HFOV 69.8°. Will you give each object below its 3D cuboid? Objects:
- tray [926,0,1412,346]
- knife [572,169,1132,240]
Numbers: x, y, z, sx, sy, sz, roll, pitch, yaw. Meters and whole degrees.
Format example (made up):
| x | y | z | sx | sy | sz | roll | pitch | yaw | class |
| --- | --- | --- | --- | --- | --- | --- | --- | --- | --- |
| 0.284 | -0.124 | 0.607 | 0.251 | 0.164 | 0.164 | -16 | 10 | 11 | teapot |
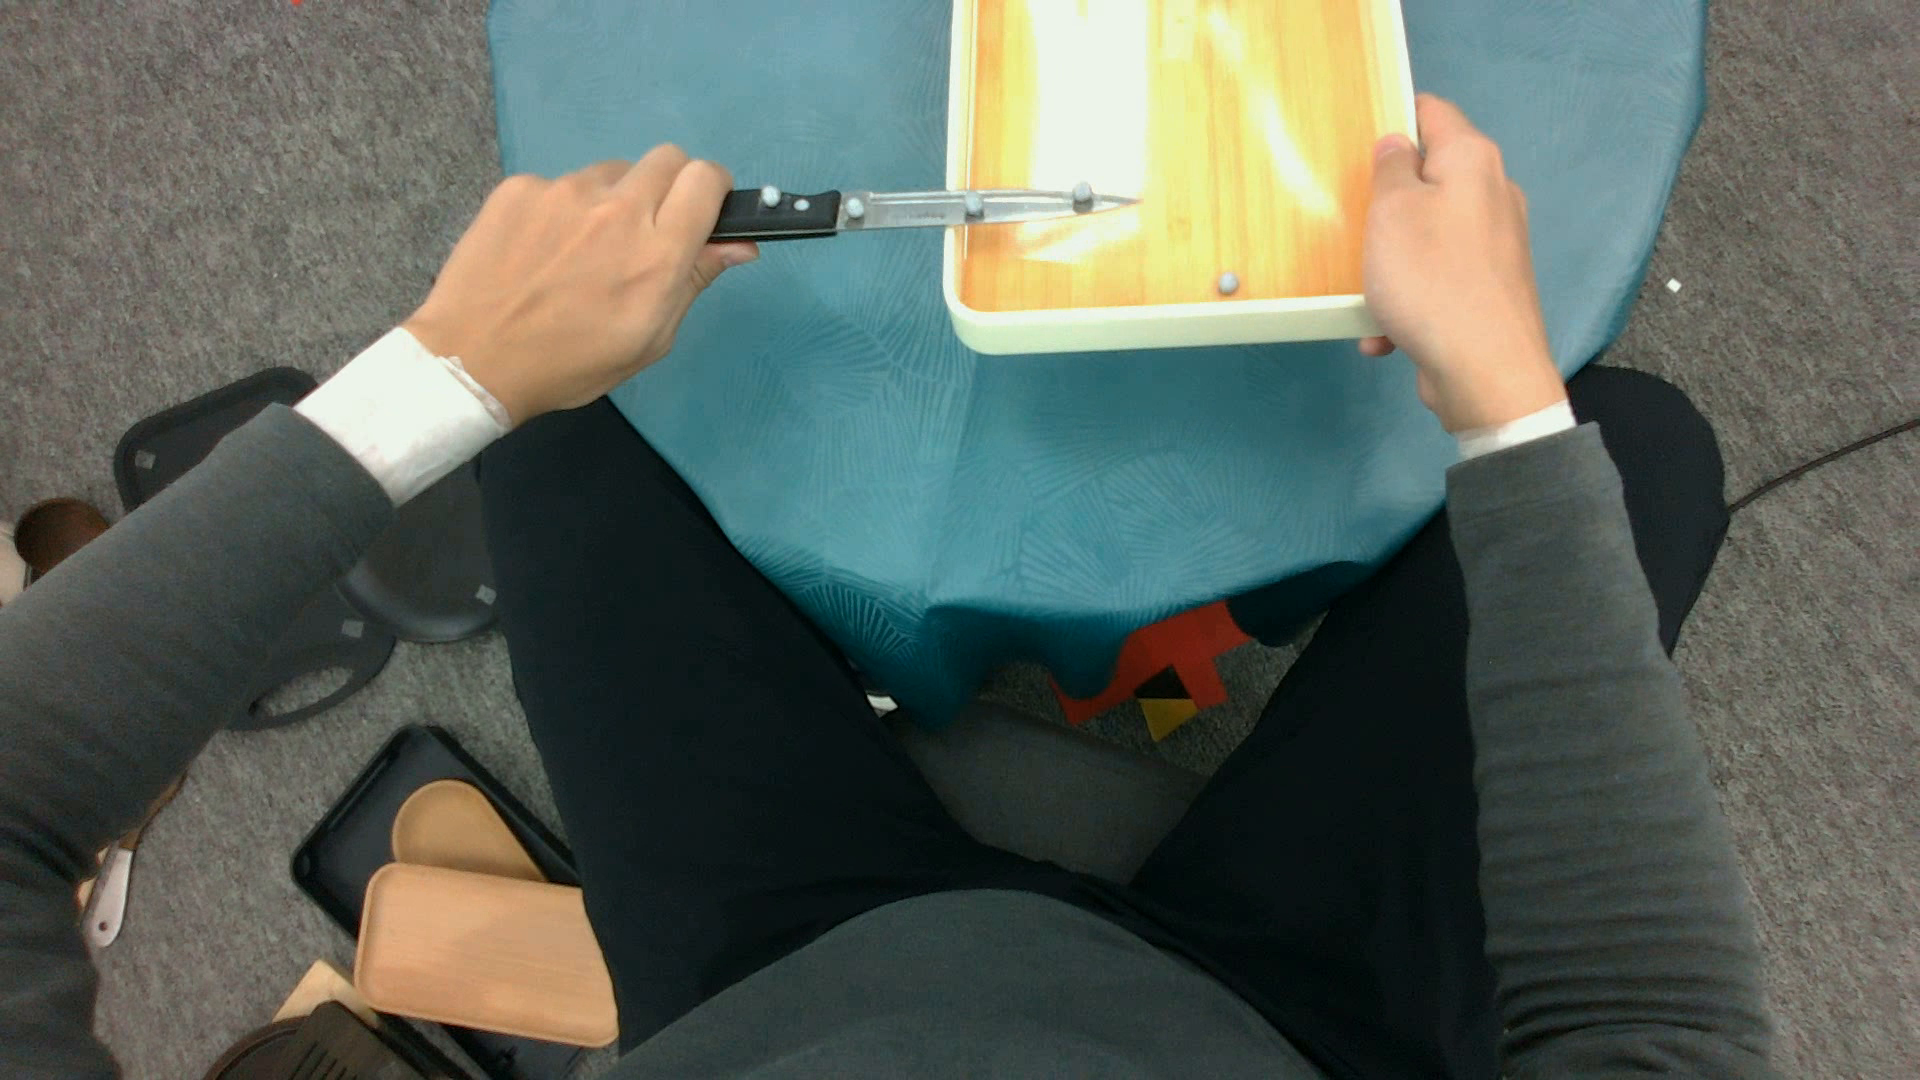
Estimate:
| x | y | z | sx | sy | sz | roll | pitch | yaw | class |
| --- | --- | --- | --- | --- | --- | --- | --- | --- | --- |
| 0.085 | -0.219 | 0.612 | 0.191 | 0.027 | 0.301 | -2 | 63 | 7 | tray |
| -0.048 | -0.140 | 0.571 | 0.238 | 0.016 | 0.024 | -2 | 58 | 8 | knife |
